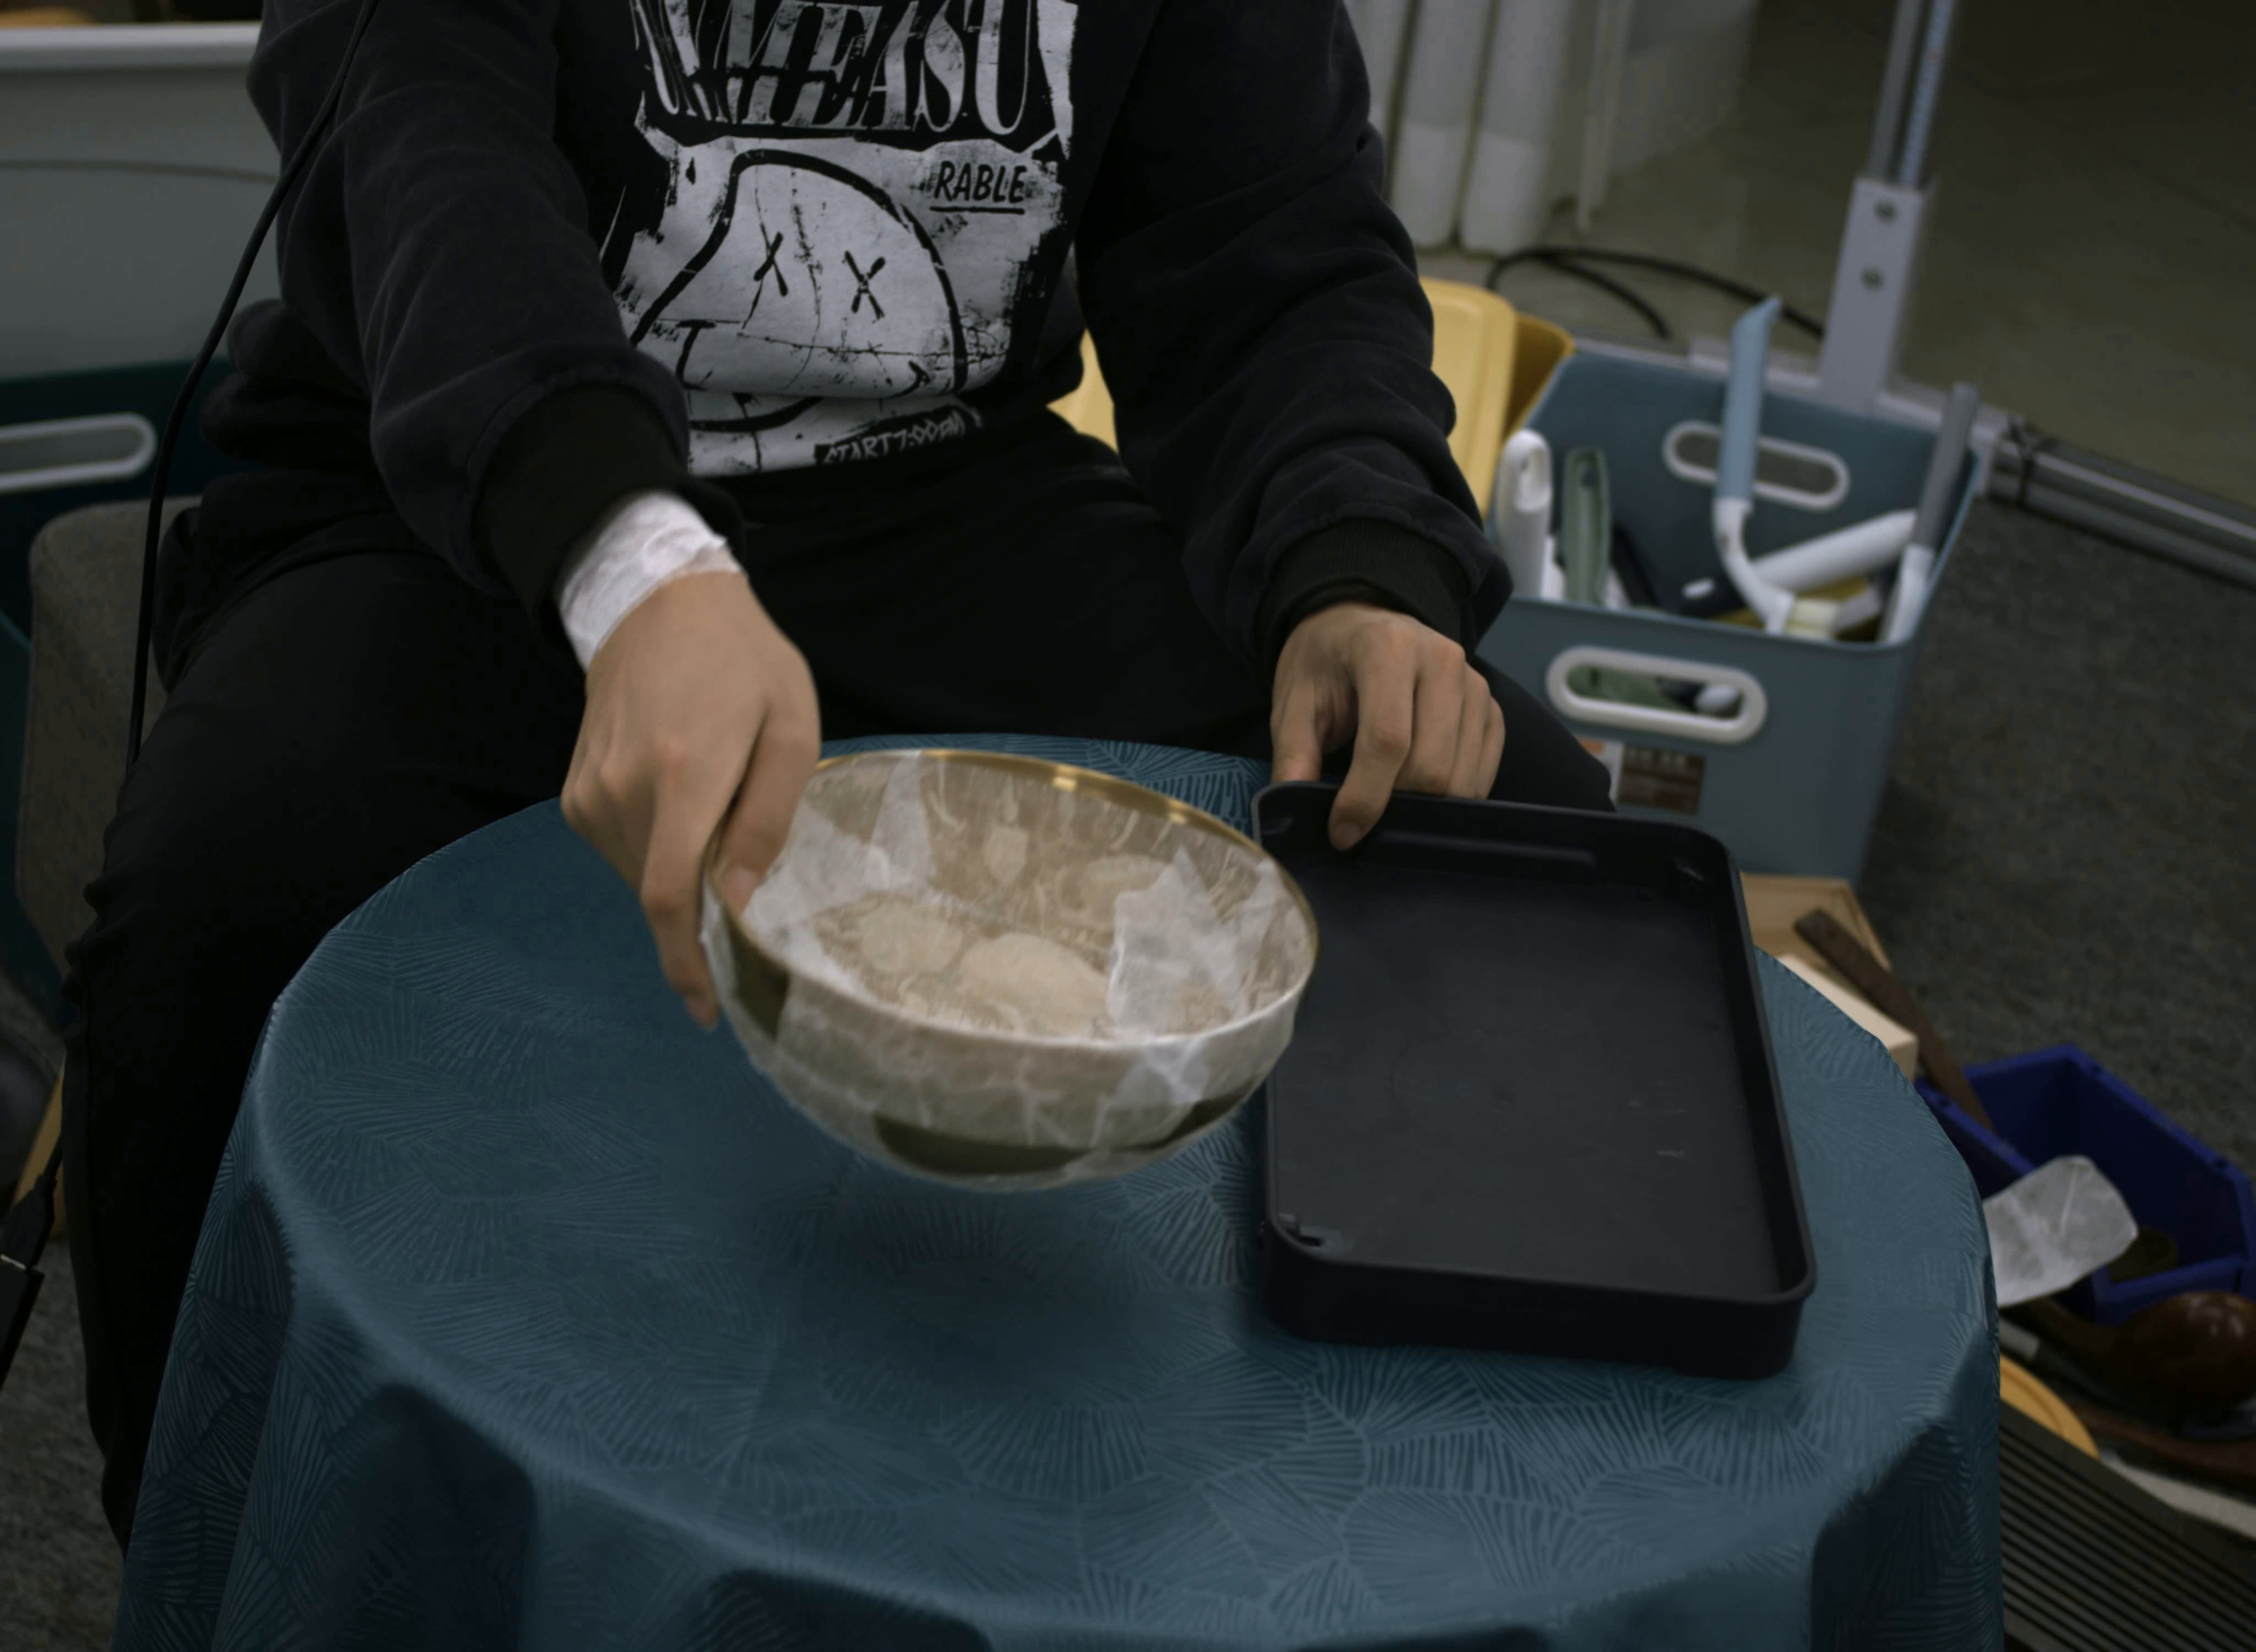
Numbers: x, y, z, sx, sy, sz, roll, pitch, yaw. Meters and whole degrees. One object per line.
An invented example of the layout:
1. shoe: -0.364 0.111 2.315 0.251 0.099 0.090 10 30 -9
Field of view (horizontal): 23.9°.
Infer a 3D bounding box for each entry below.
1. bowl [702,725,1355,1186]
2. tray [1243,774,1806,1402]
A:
1. bowl: -0.040 0.054 1.720 0.214 0.094 0.216 8 26 -4
2. tray: 0.133 0.085 1.857 0.184 0.037 0.320 8 30 -2
